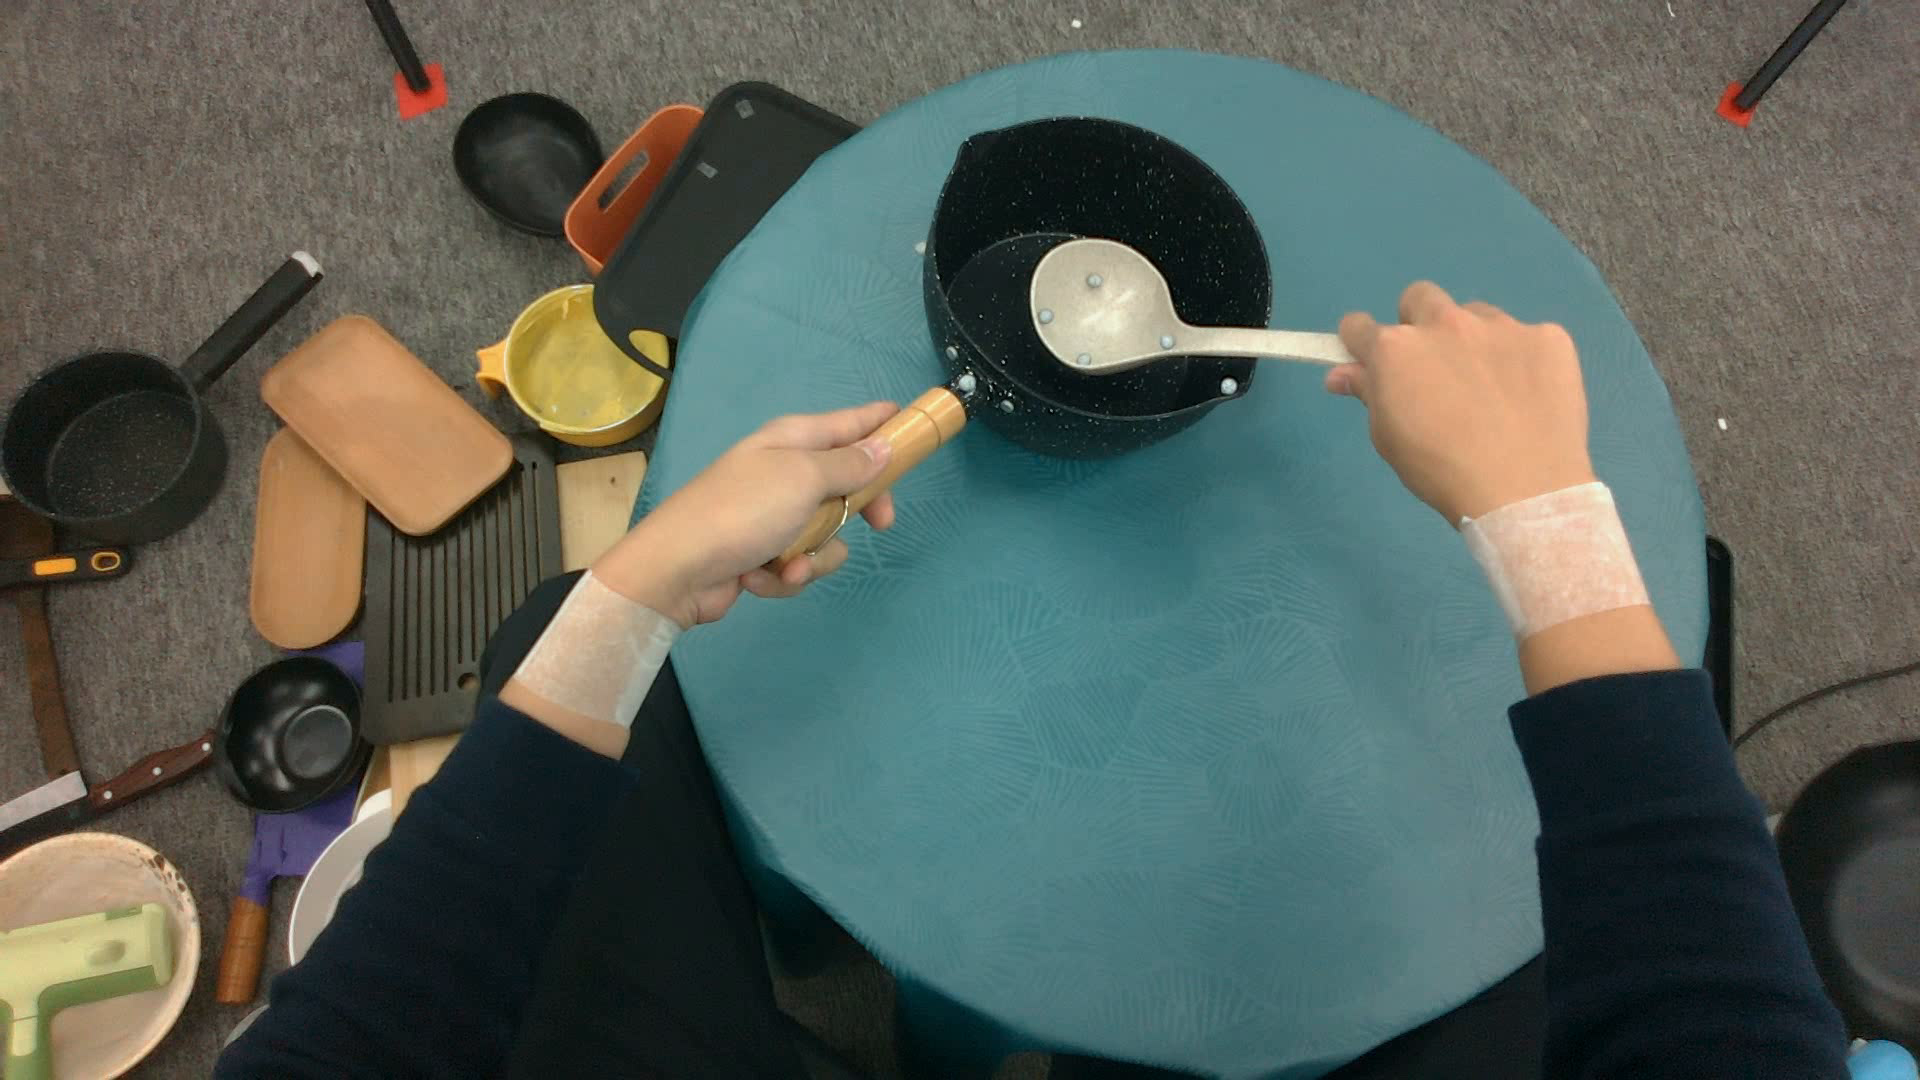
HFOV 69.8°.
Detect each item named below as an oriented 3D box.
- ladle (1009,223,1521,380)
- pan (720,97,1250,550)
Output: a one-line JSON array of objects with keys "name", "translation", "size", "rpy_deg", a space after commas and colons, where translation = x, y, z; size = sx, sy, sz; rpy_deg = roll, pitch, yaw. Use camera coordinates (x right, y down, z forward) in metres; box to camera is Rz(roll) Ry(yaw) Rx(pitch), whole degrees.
[{"name": "ladle", "translation": [0.141, -0.121, 0.687], "size": [0.274, 0.069, 0.090], "rpy_deg": [13, 46, 45]}, {"name": "pan", "translation": [0.006, -0.091, 0.707], "size": [0.207, 0.108, 0.344], "rpy_deg": [43, 64, 5]}]
